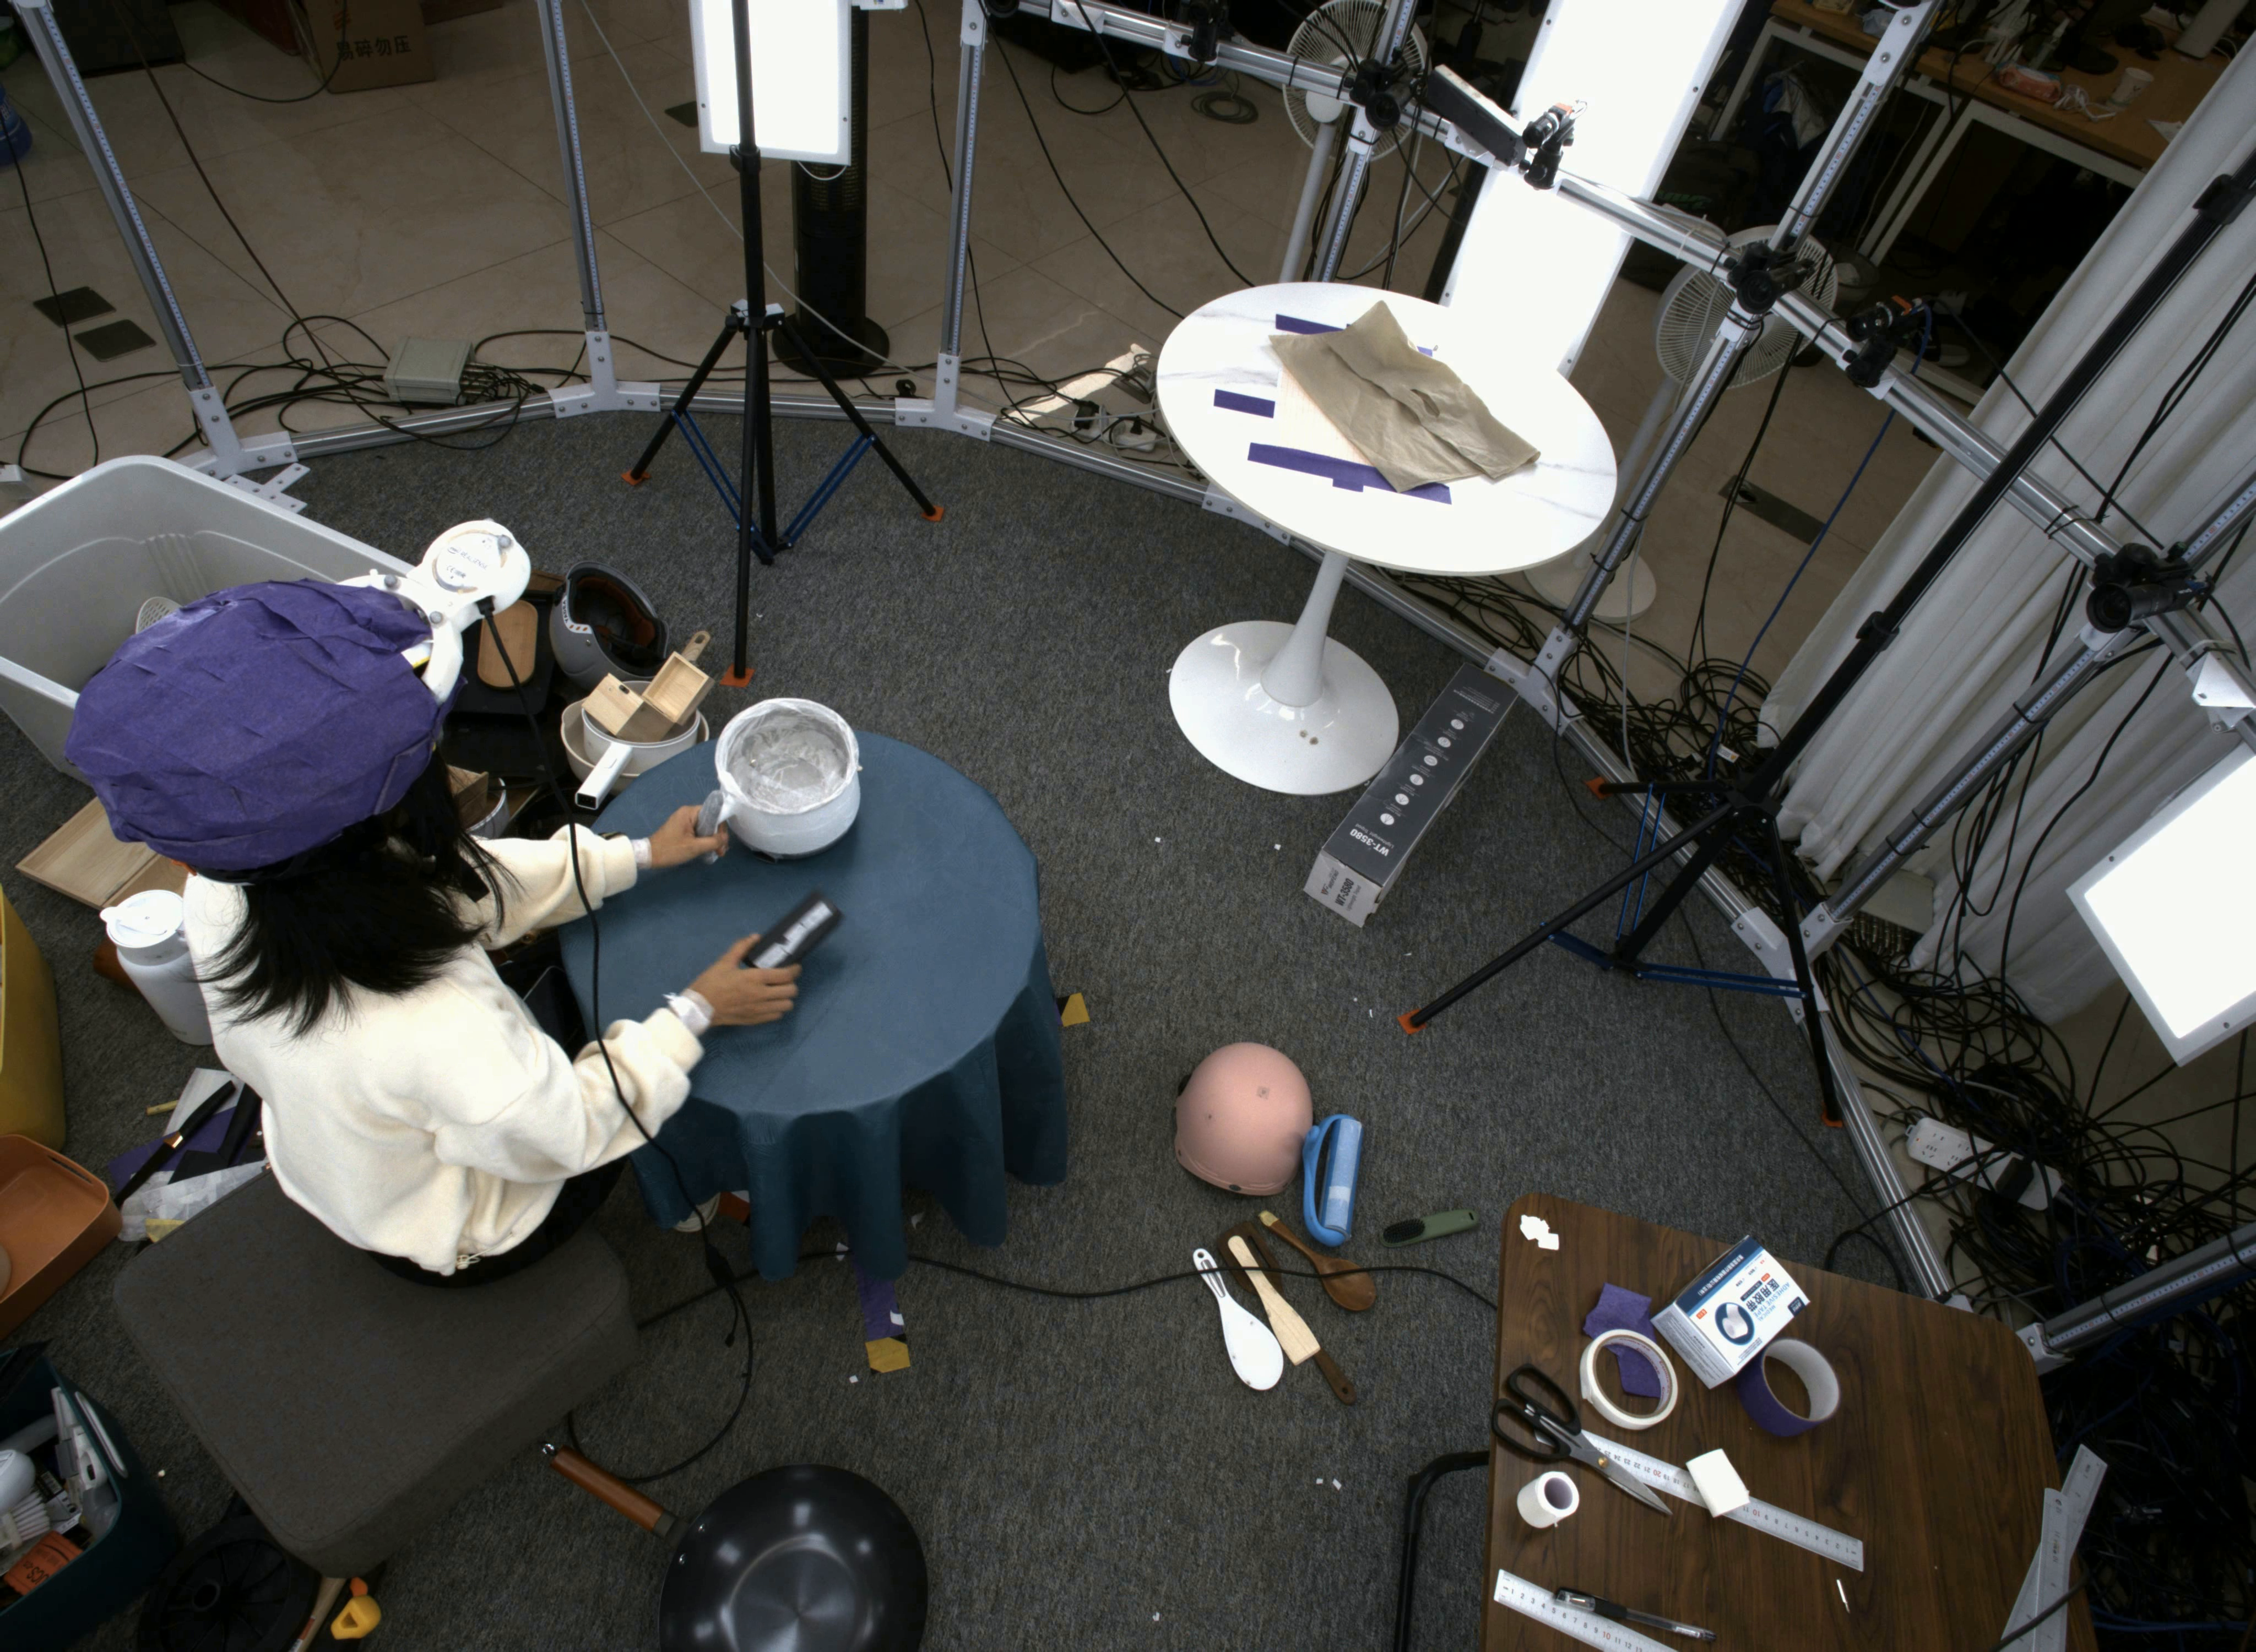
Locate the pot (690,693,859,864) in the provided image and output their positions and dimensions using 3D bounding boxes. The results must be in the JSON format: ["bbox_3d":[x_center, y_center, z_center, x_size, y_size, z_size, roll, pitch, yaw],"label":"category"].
[{"bbox_3d":[-0.455,-0.045,1.650,0.175,0.139,0.234,43,59,16],"label":"pot"}]

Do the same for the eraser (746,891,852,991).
[{"bbox_3d":[-0.396,0.135,1.560,0.054,0.030,0.125,48,62,-3],"label":"eraser"}]
